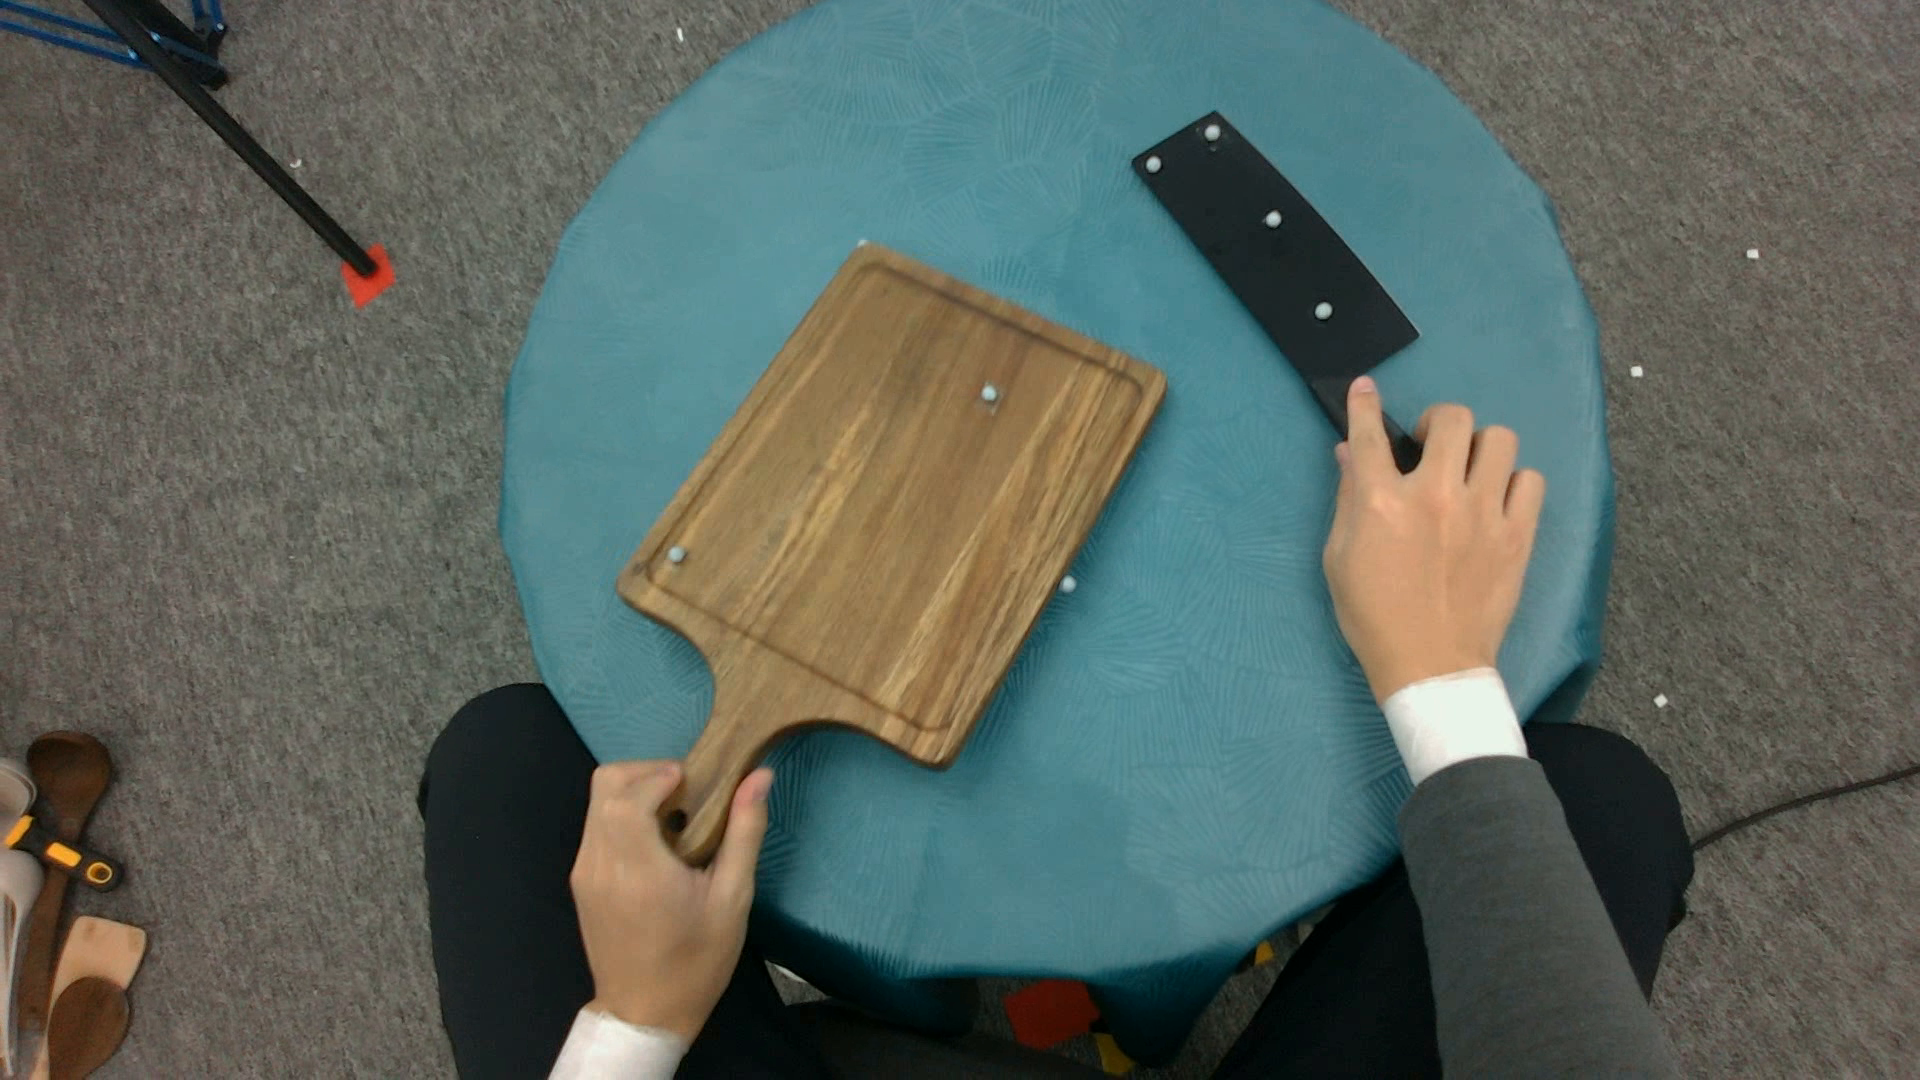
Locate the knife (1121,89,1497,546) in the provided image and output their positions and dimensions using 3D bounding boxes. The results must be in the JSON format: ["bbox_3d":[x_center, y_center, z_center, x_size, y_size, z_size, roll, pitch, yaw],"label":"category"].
[{"bbox_3d":[0.191,-0.124,0.740,0.081,0.021,0.303,-27,71,-4],"label":"knife"}]

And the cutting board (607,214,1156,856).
[{"bbox_3d":[-0.061,0.000,0.705,0.201,0.023,0.353,26,71,13],"label":"cutting board"}]
